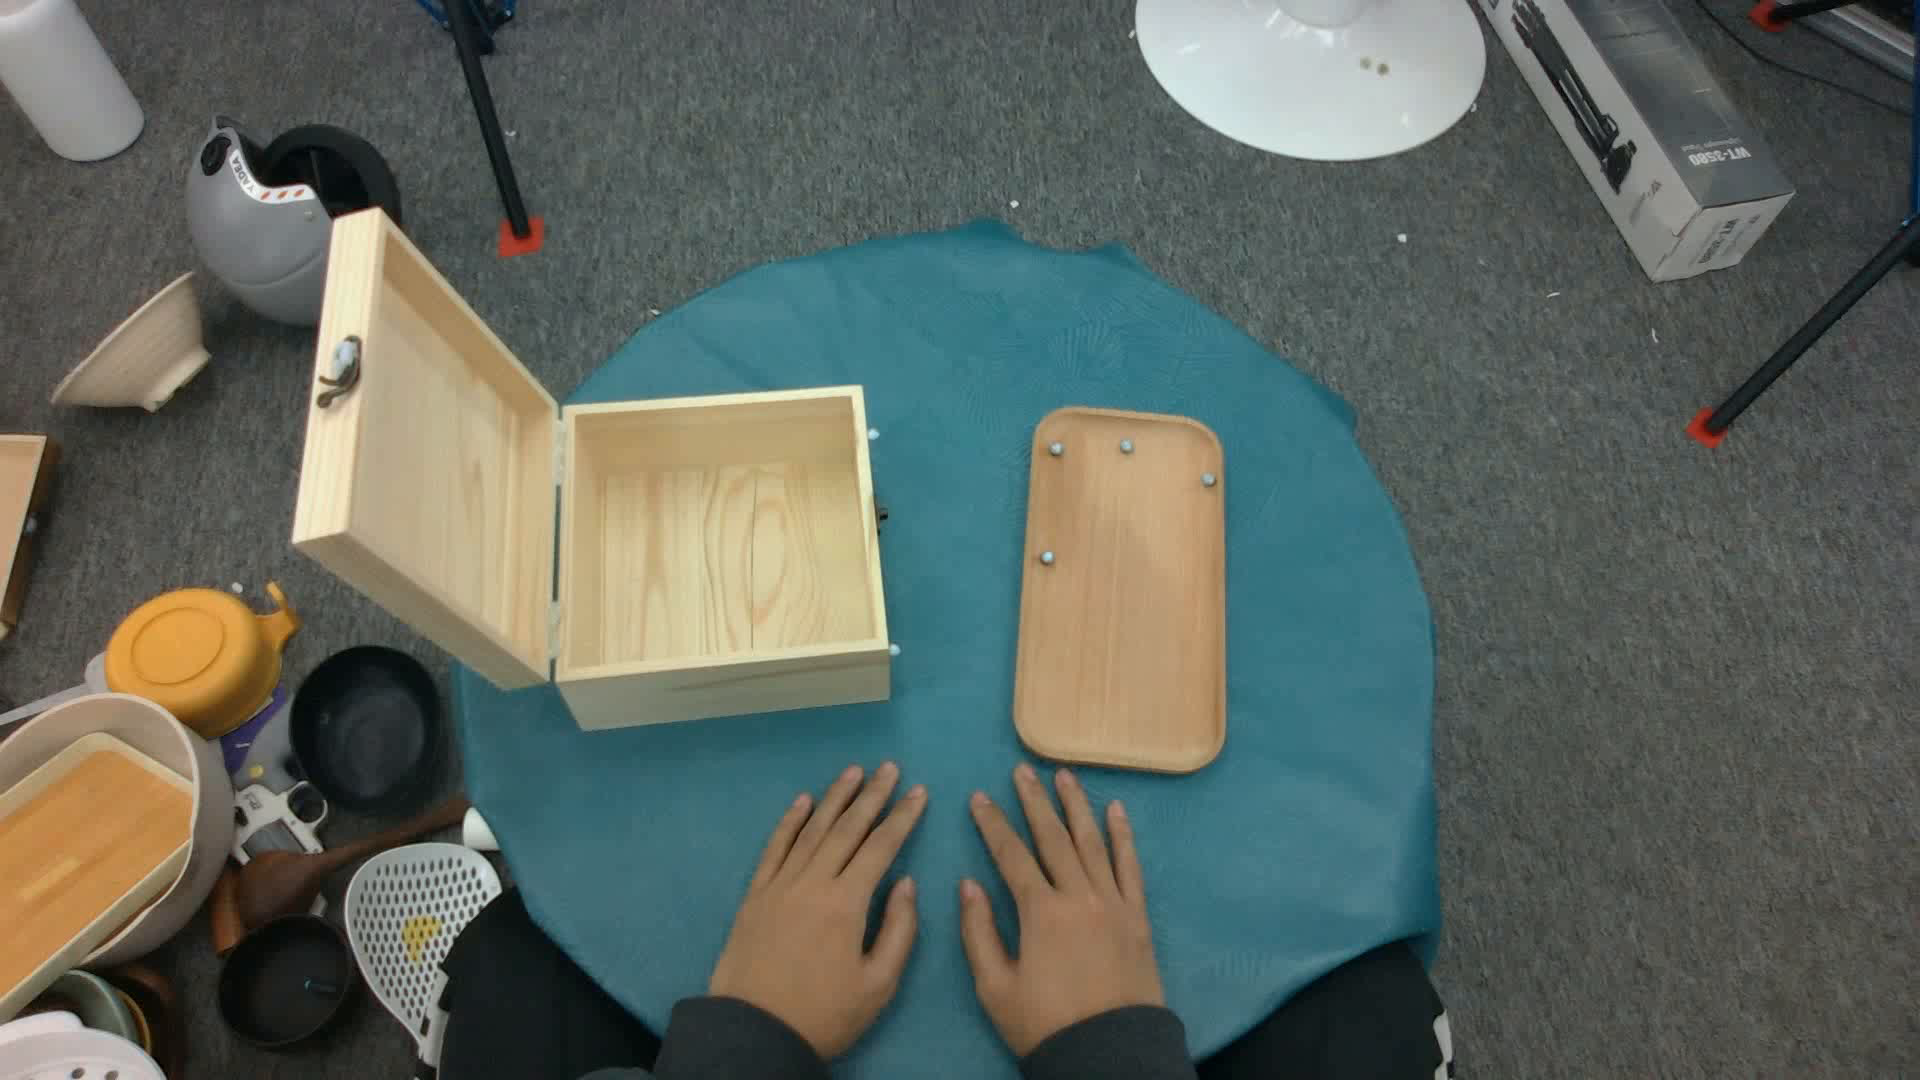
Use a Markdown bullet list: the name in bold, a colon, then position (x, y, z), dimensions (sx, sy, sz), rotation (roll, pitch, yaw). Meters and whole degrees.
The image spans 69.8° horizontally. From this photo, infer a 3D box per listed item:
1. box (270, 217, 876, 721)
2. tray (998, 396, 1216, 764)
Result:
- **box**: position (-0.180, -0.033, 0.745), dimensions (0.265, 0.252, 0.182), rotation (-6, 64, -6)
- **tray**: position (0.094, 0.019, 0.862), dimensions (0.130, 0.023, 0.252), rotation (4, 61, 2)
